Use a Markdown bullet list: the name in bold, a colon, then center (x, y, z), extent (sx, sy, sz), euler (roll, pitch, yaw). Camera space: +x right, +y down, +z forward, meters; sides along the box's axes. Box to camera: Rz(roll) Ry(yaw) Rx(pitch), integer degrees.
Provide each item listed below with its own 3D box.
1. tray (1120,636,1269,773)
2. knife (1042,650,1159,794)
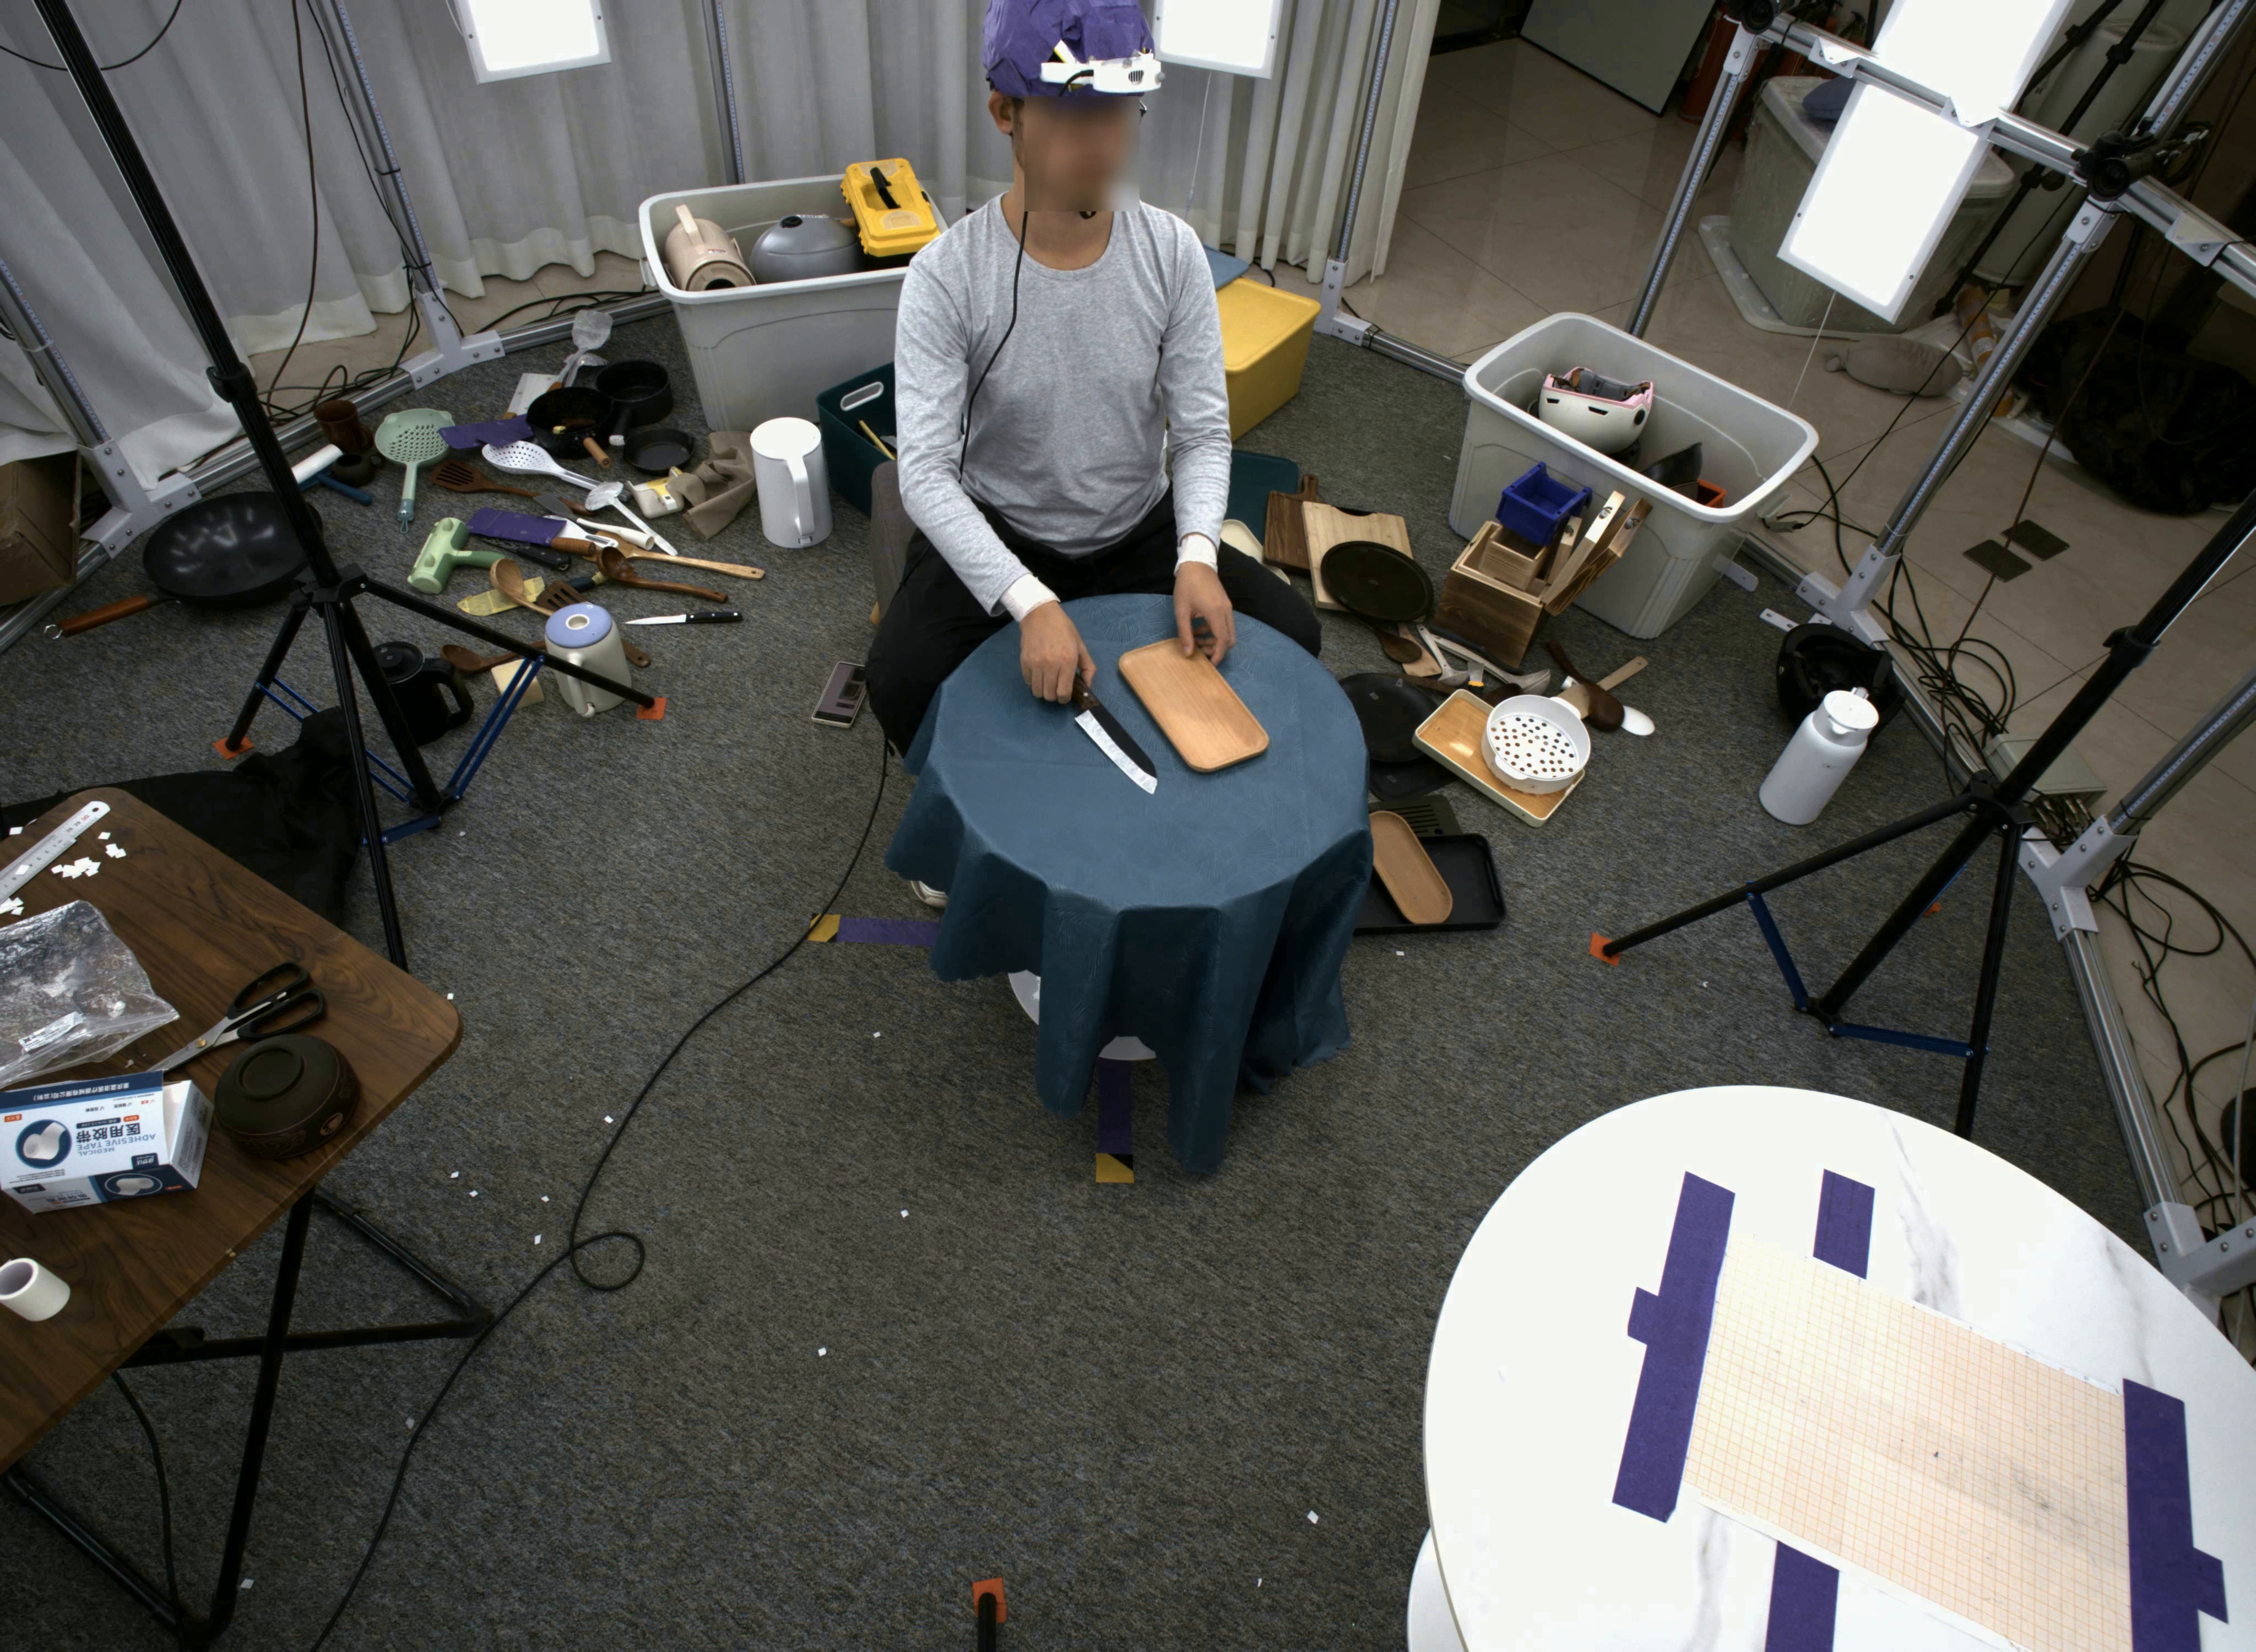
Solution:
- **tray**: center (0.091, -0.175, 1.815), extent (0.131, 0.022, 0.256), euler (-17, 52, -20)
- **knife**: center (-0.040, -0.146, 1.778), extent (0.050, 0.019, 0.295), euler (-31, 60, -12)
